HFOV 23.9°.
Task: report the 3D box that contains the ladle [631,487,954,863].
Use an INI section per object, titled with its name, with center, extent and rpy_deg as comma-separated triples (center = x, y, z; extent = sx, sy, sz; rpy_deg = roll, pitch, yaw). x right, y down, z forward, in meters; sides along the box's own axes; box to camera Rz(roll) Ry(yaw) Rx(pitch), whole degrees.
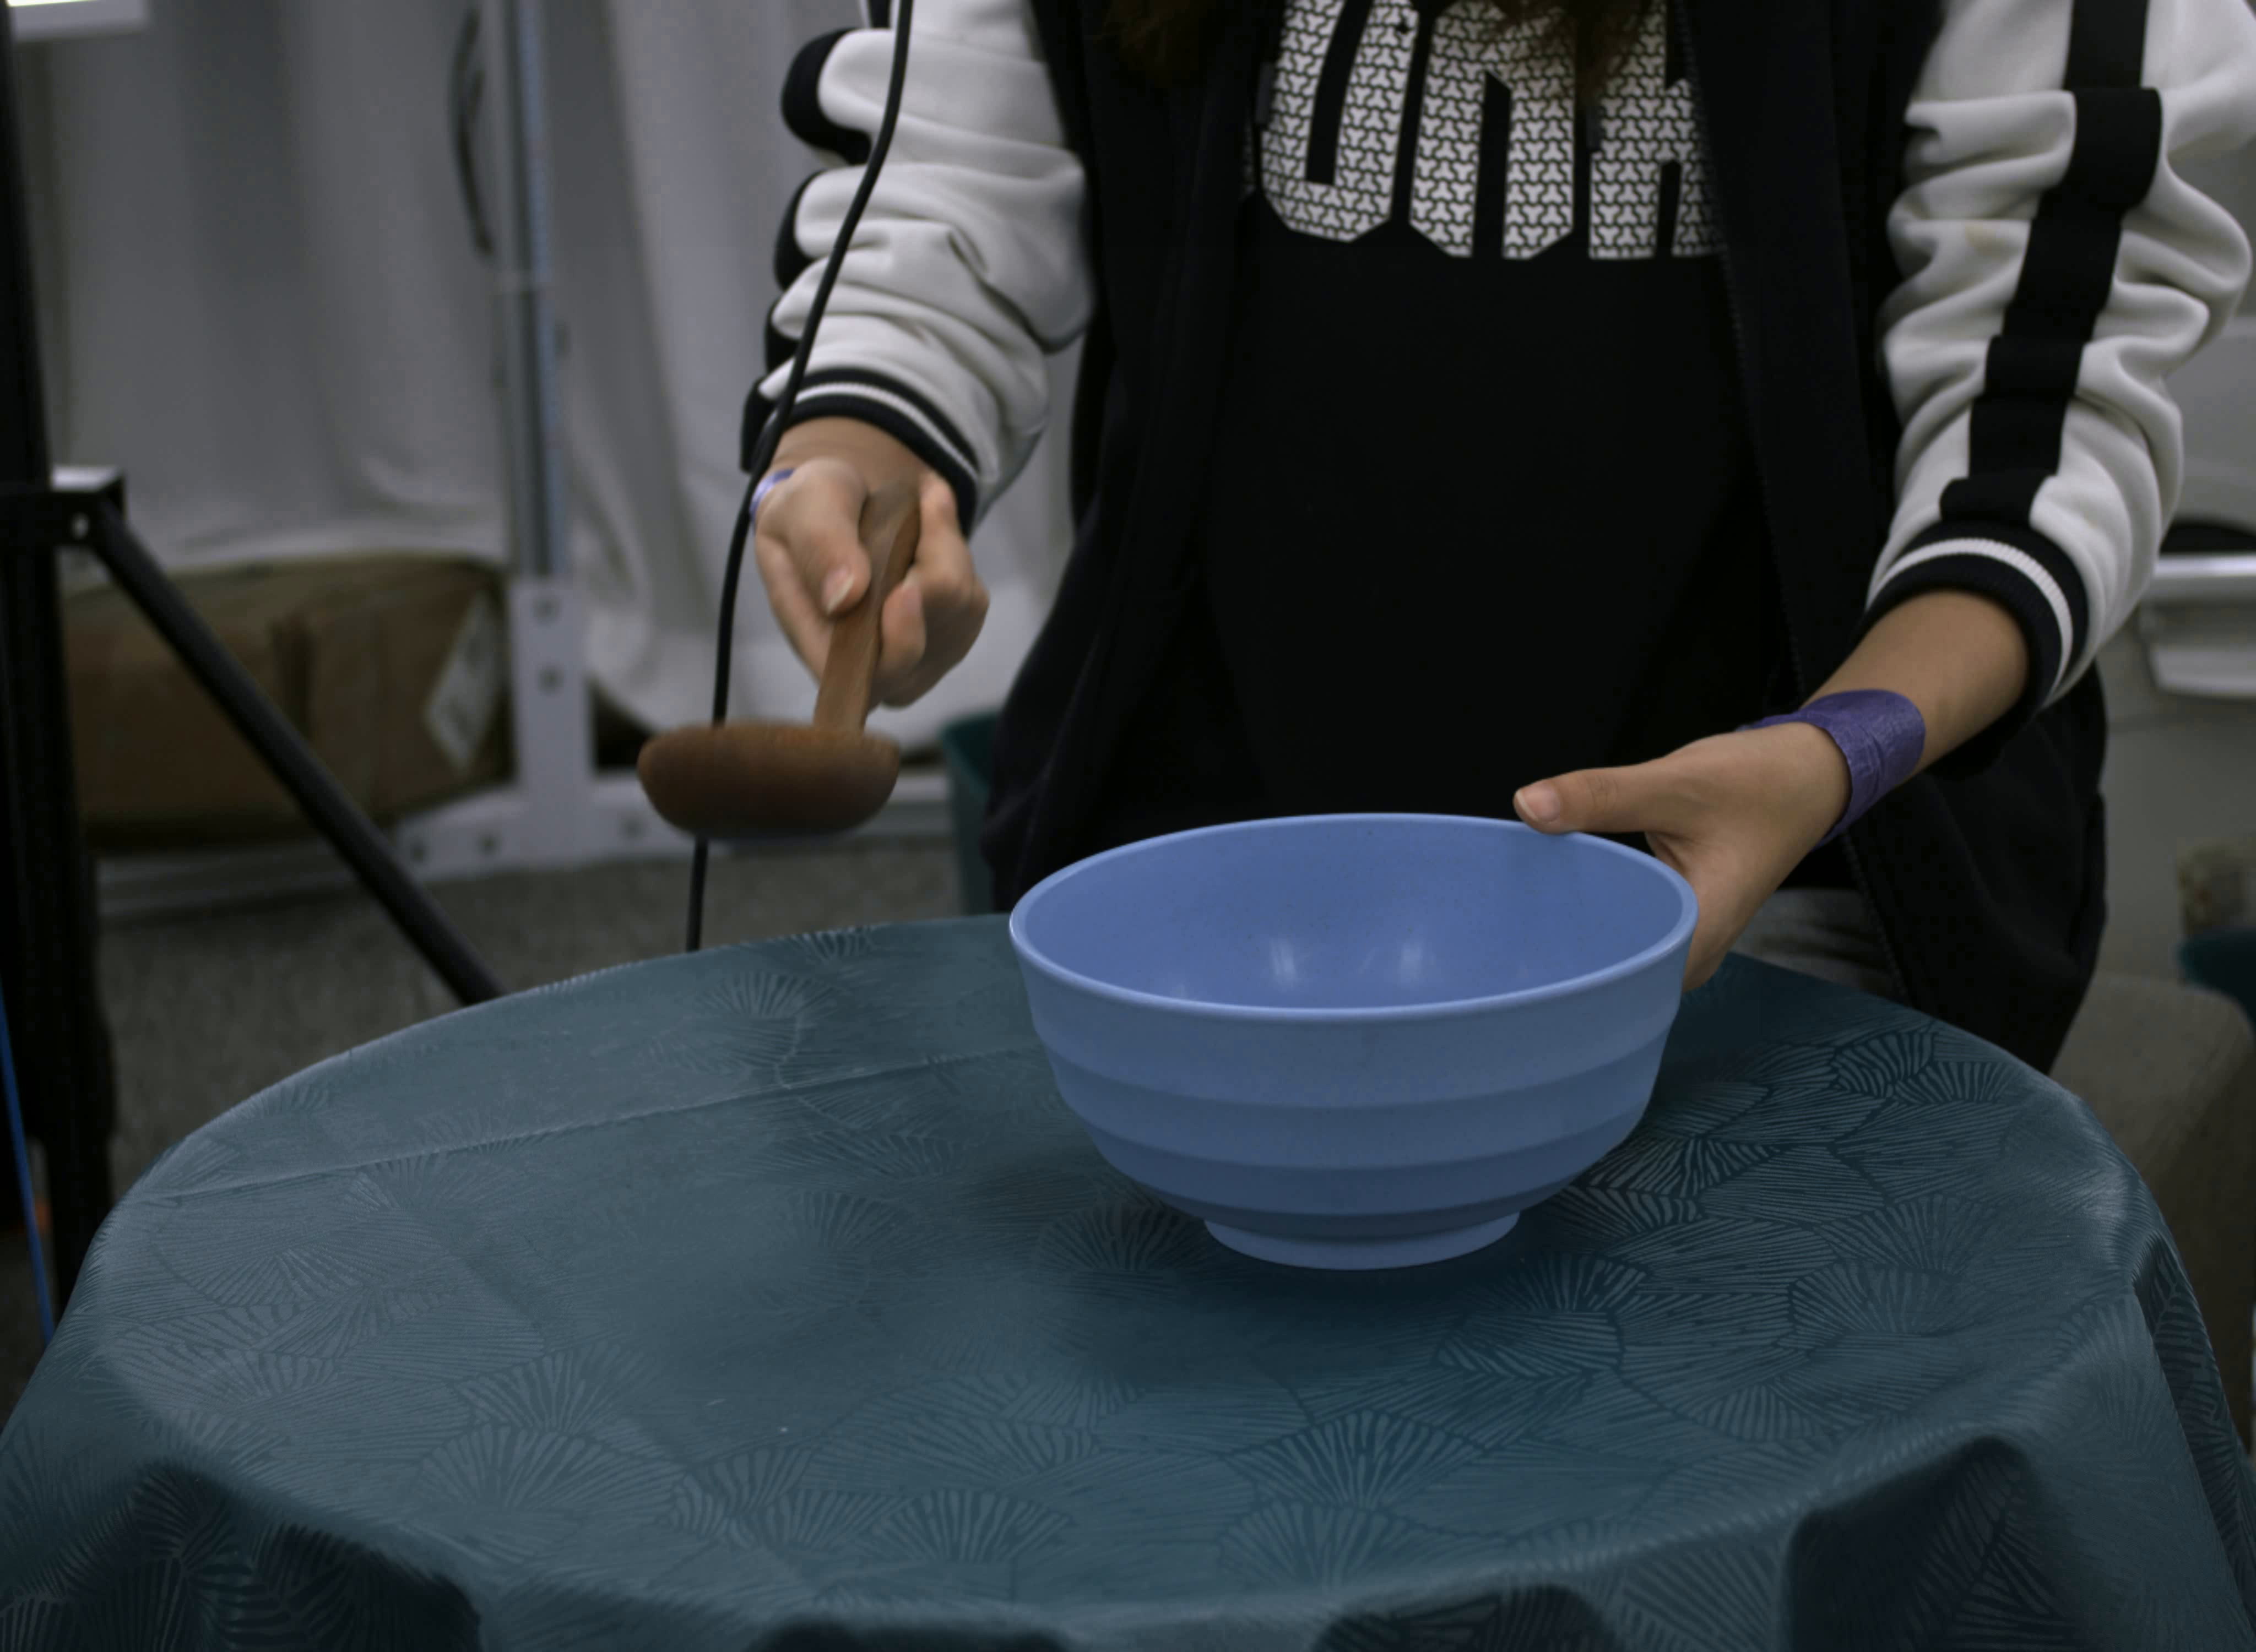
[ladle]
center = -0.088, -0.060, 1.606
extent = 0.077, 0.065, 0.260
rpy_deg = -1, 31, 11

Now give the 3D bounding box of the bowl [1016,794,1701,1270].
[bowl]
center = 0.071, 0.066, 1.522
extent = 0.196, 0.095, 0.197
rpy_deg = -8, 17, 1
